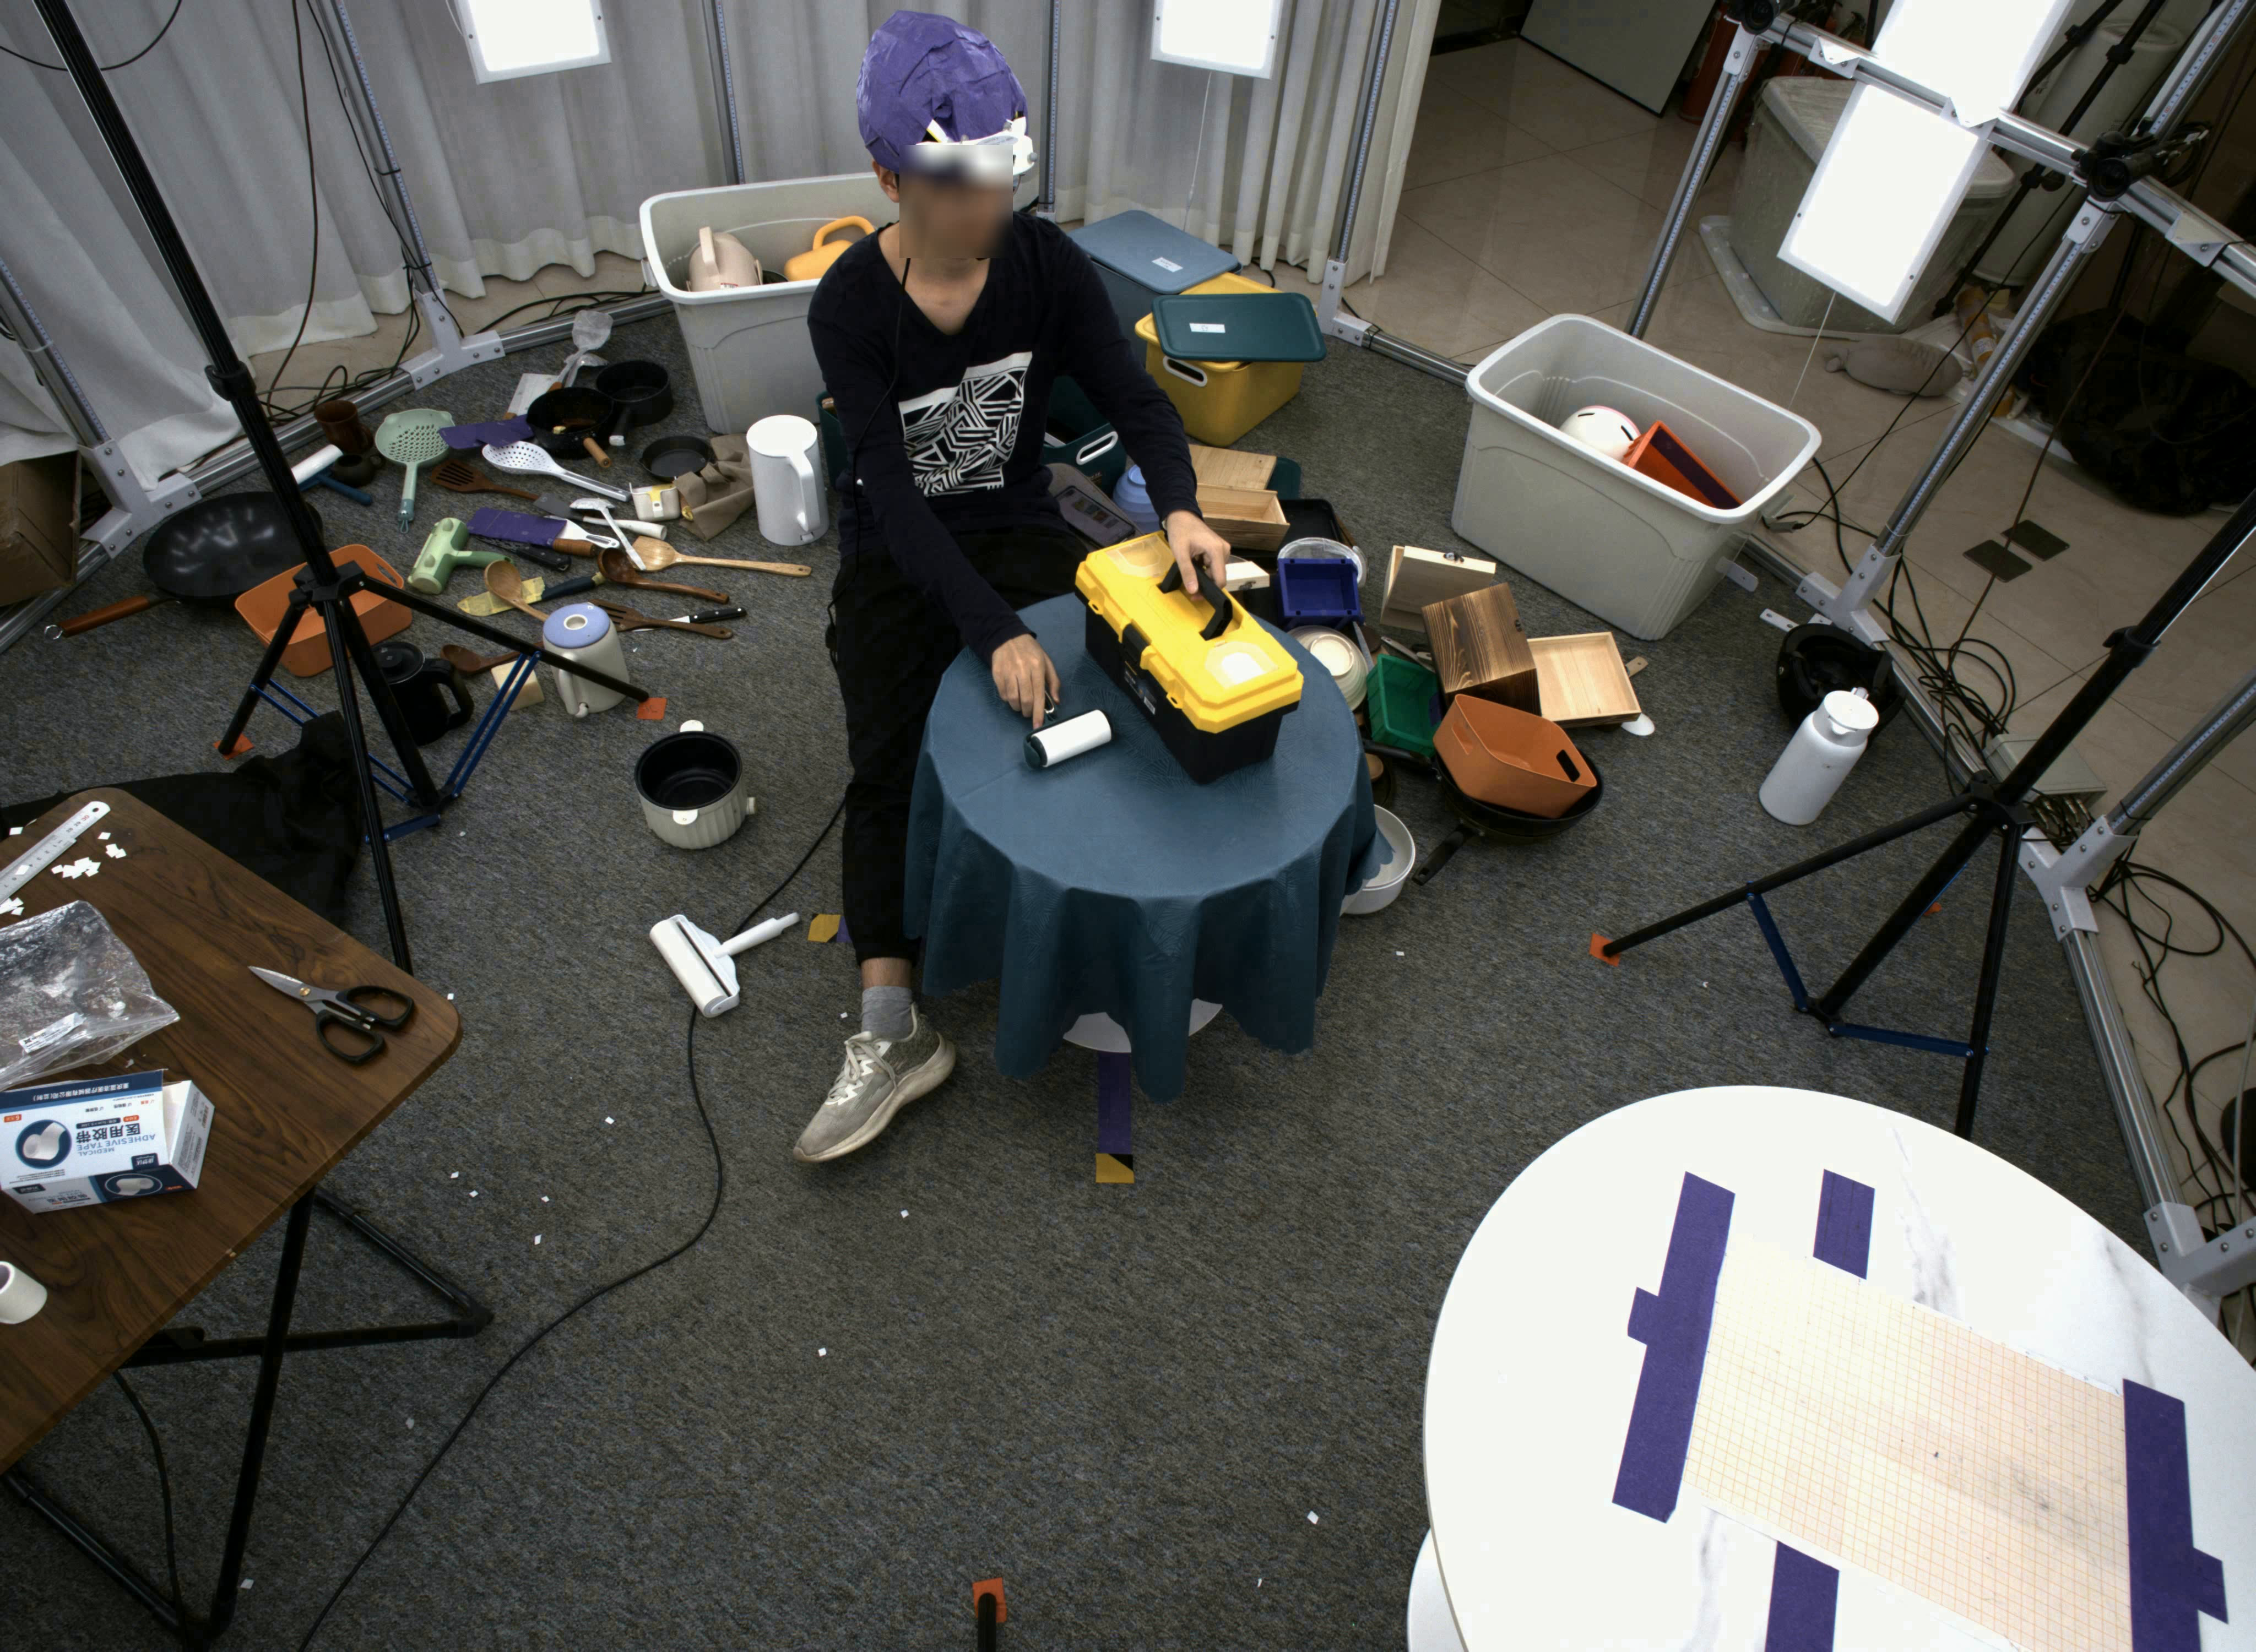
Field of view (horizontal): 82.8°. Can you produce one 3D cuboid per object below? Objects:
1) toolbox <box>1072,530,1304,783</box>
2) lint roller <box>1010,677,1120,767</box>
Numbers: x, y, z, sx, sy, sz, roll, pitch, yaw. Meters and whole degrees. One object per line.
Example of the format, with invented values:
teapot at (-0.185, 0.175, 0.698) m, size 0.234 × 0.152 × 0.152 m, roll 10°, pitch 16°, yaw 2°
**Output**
toolbox at (0.073, -0.235, 1.764) m, size 0.182 × 0.168 × 0.359 m, roll -22°, pitch 54°, yaw -22°
lint roller at (-0.113, -0.164, 1.771) m, size 0.135 × 0.047 × 0.184 m, roll -24°, pitch 55°, yaw -21°
